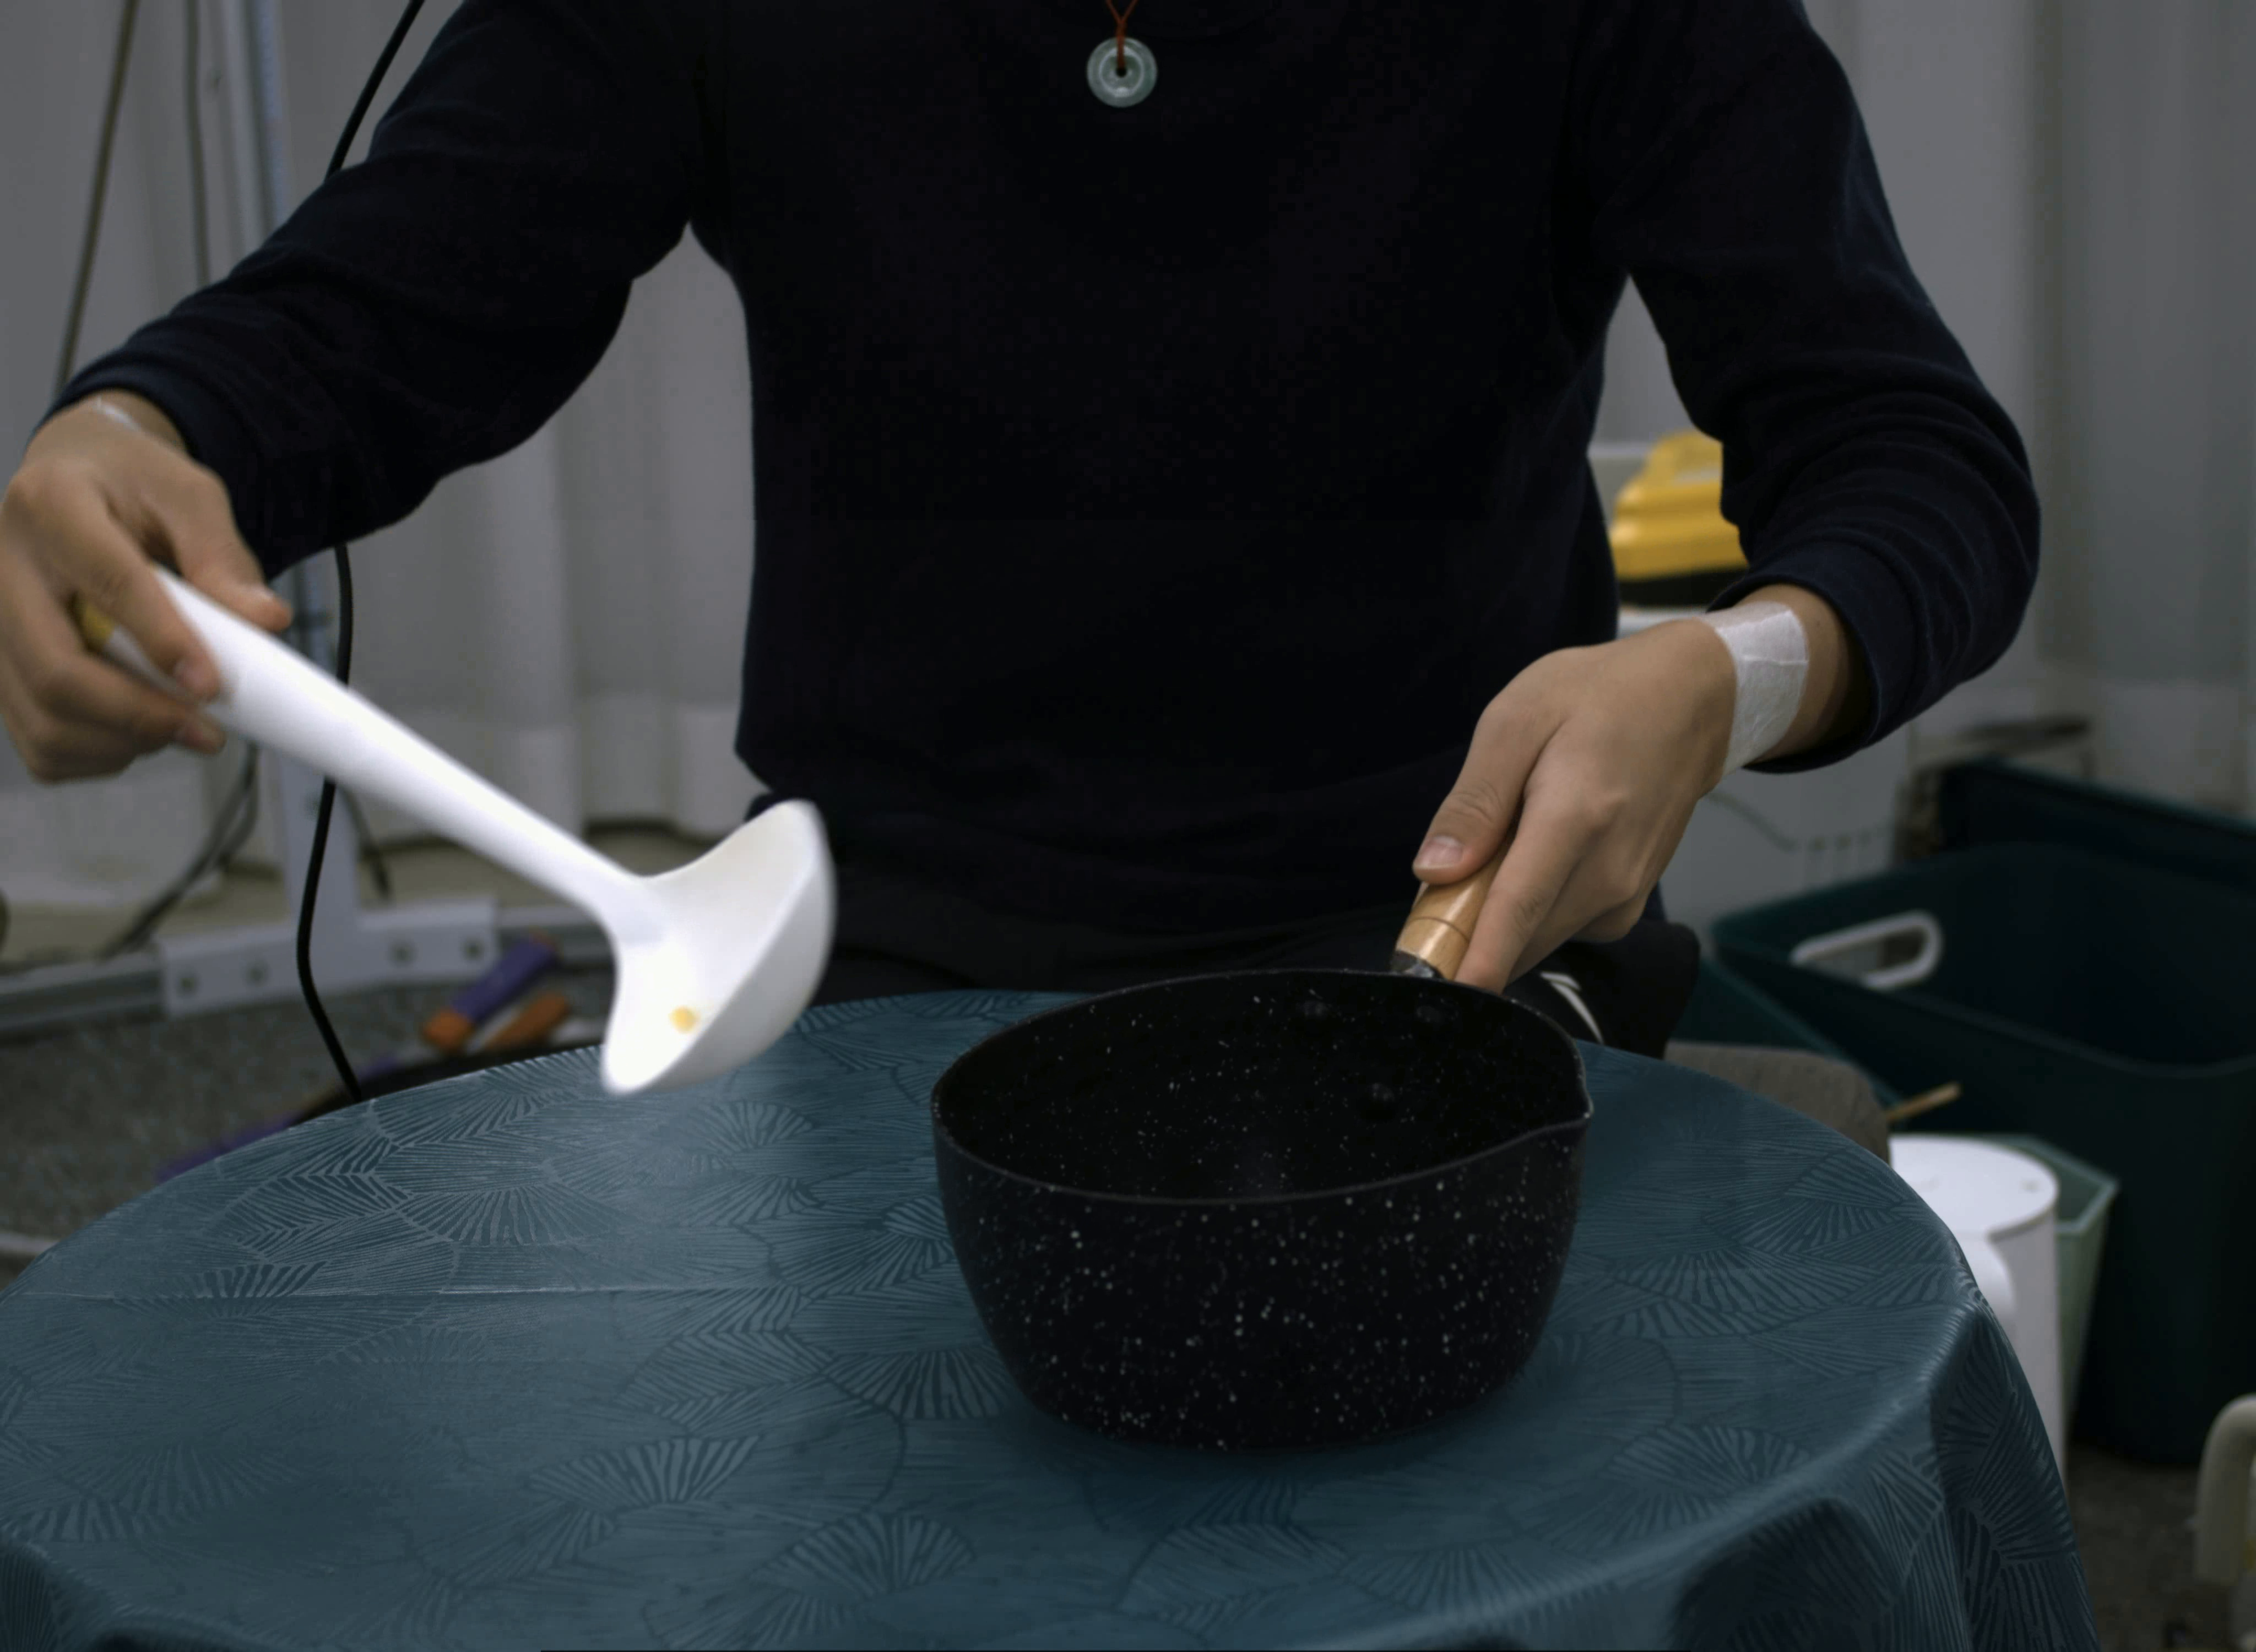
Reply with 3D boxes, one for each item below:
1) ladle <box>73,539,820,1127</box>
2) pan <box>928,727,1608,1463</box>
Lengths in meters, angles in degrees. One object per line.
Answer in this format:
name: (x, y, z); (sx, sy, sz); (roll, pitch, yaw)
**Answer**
ladle: (-0.194, -0.010, 1.496); (0.295, 0.090, 0.069); (31, 0, 31)
pan: (0.069, 0.074, 1.614); (0.207, 0.107, 0.344); (2, 20, 24)
